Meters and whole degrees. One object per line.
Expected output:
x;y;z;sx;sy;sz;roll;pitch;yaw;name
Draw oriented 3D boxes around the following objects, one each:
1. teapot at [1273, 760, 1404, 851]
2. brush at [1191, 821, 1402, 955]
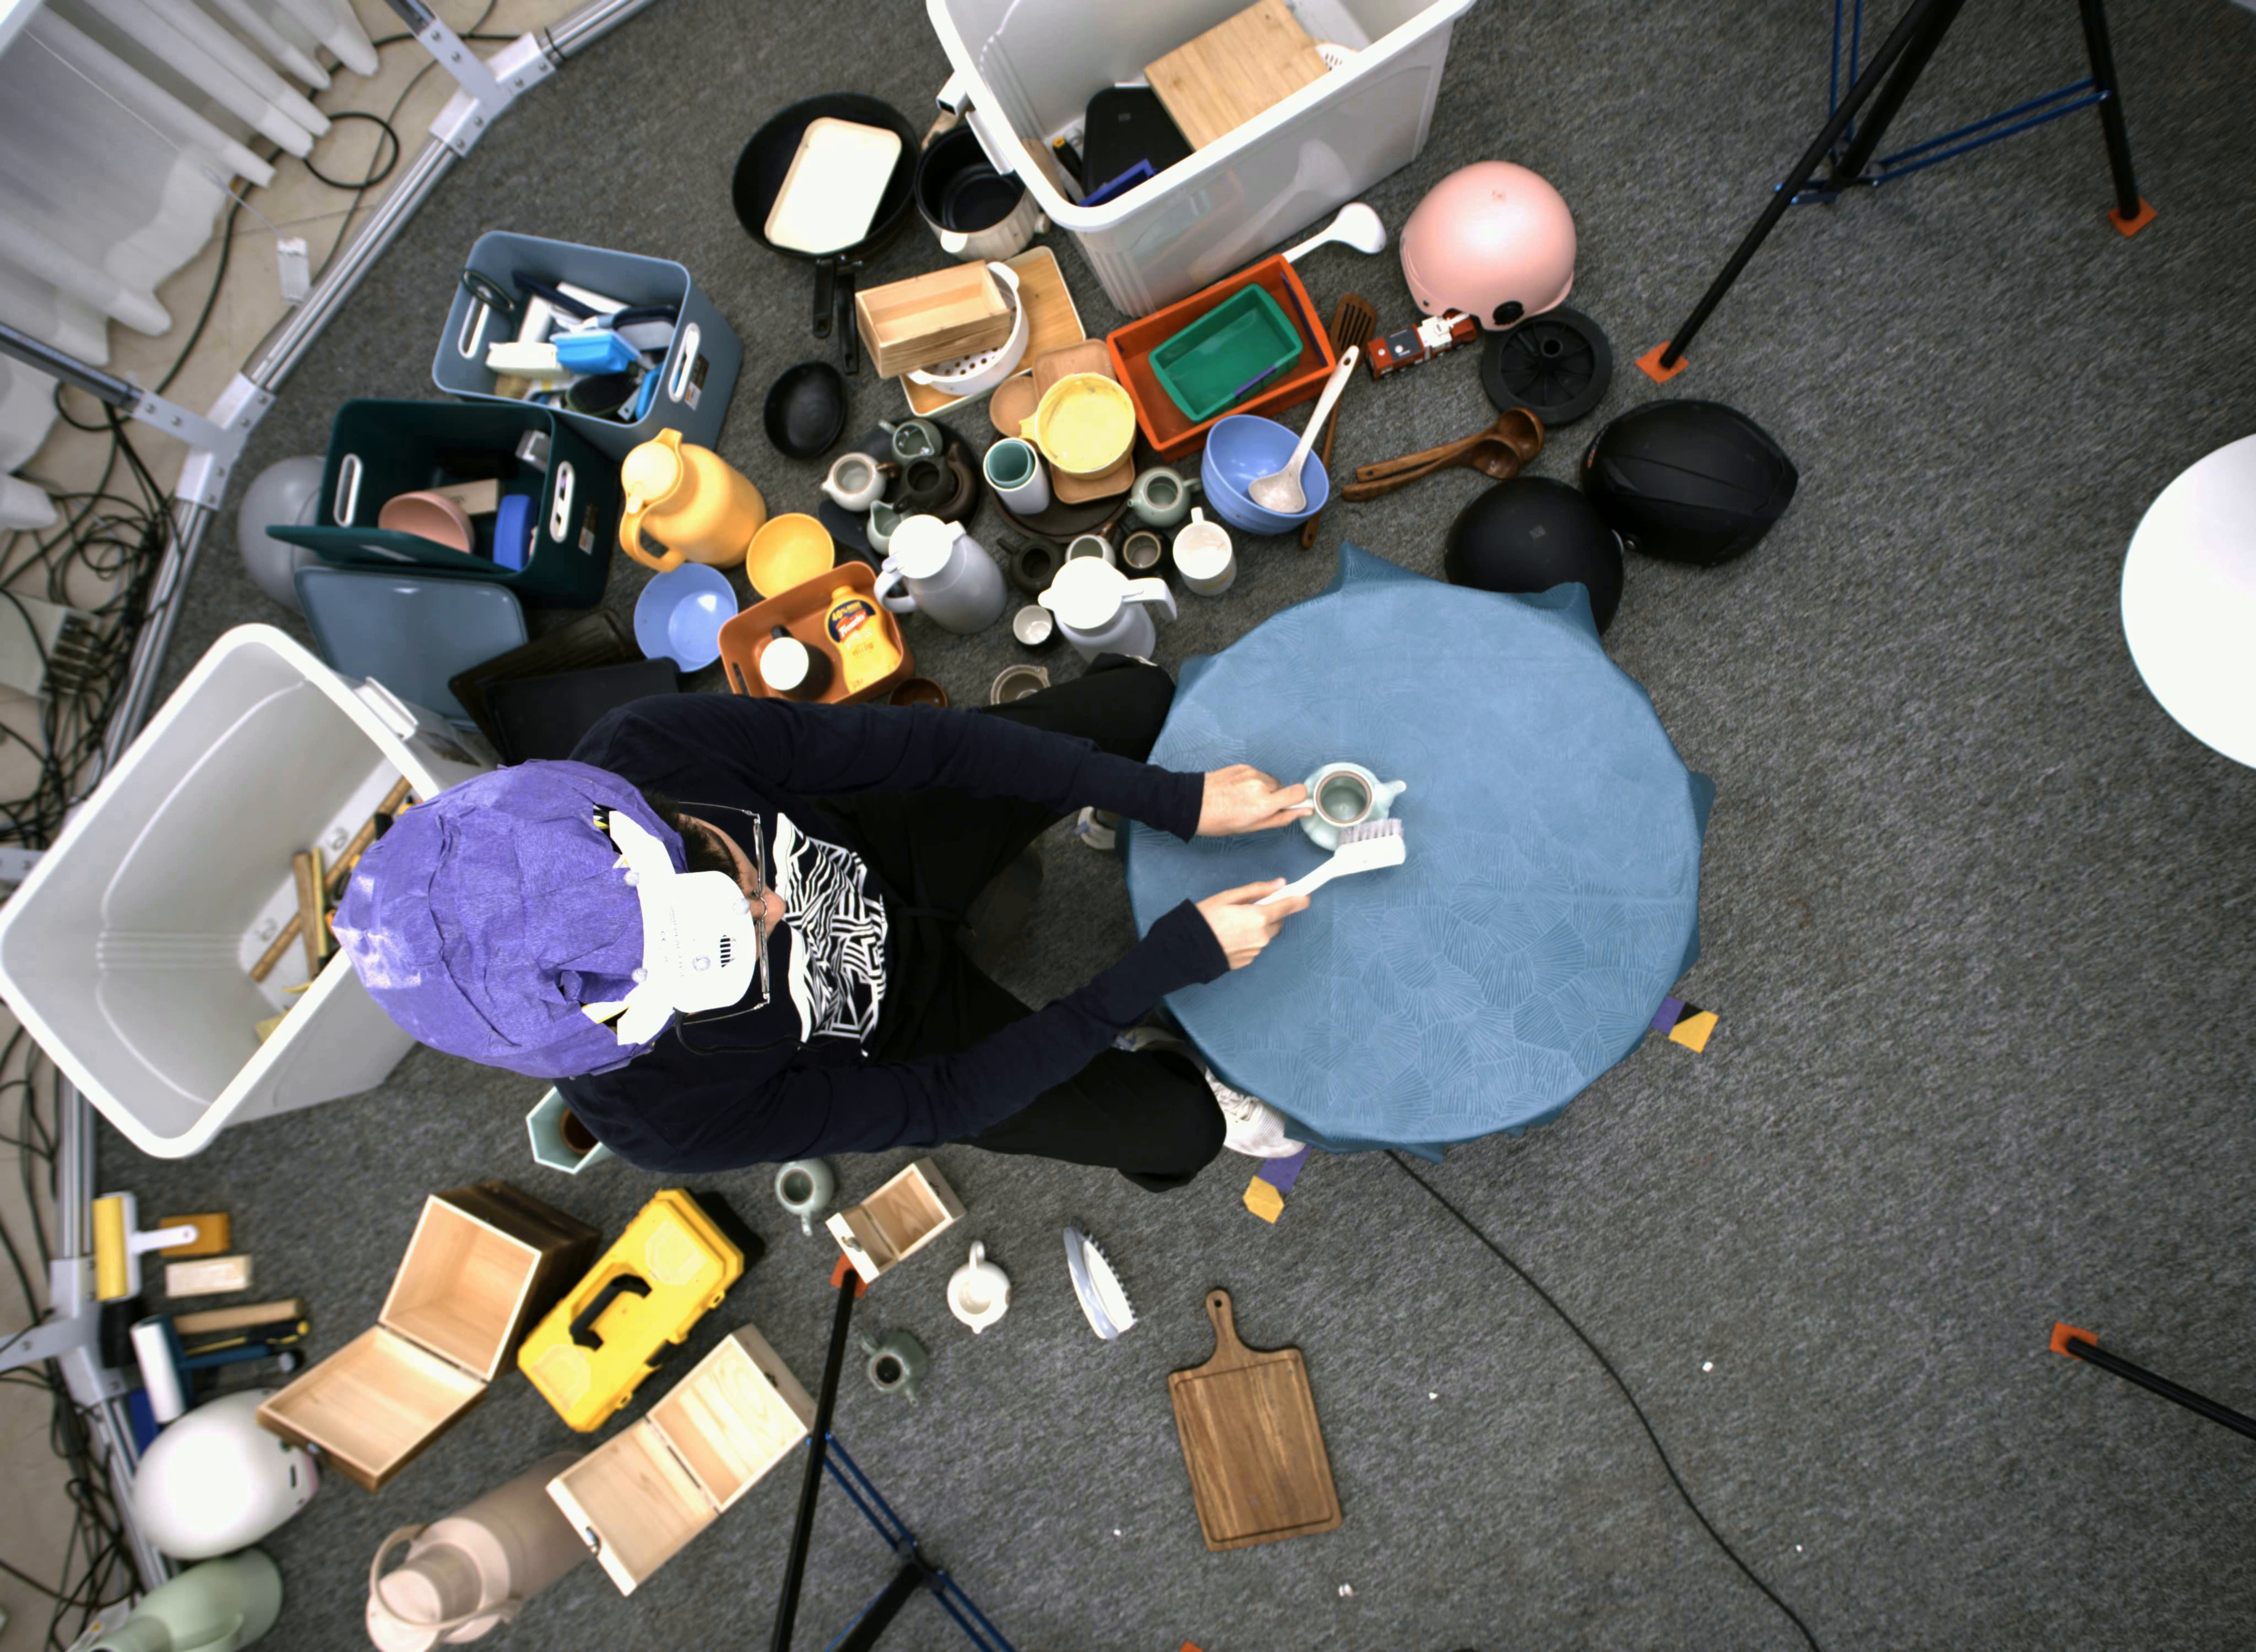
0.218;-0.024;1.438;0.137;0.062;0.095;-12;80;3;teapot
0.168;0.059;1.406;0.244;0.035;0.049;-26;49;1;brush
